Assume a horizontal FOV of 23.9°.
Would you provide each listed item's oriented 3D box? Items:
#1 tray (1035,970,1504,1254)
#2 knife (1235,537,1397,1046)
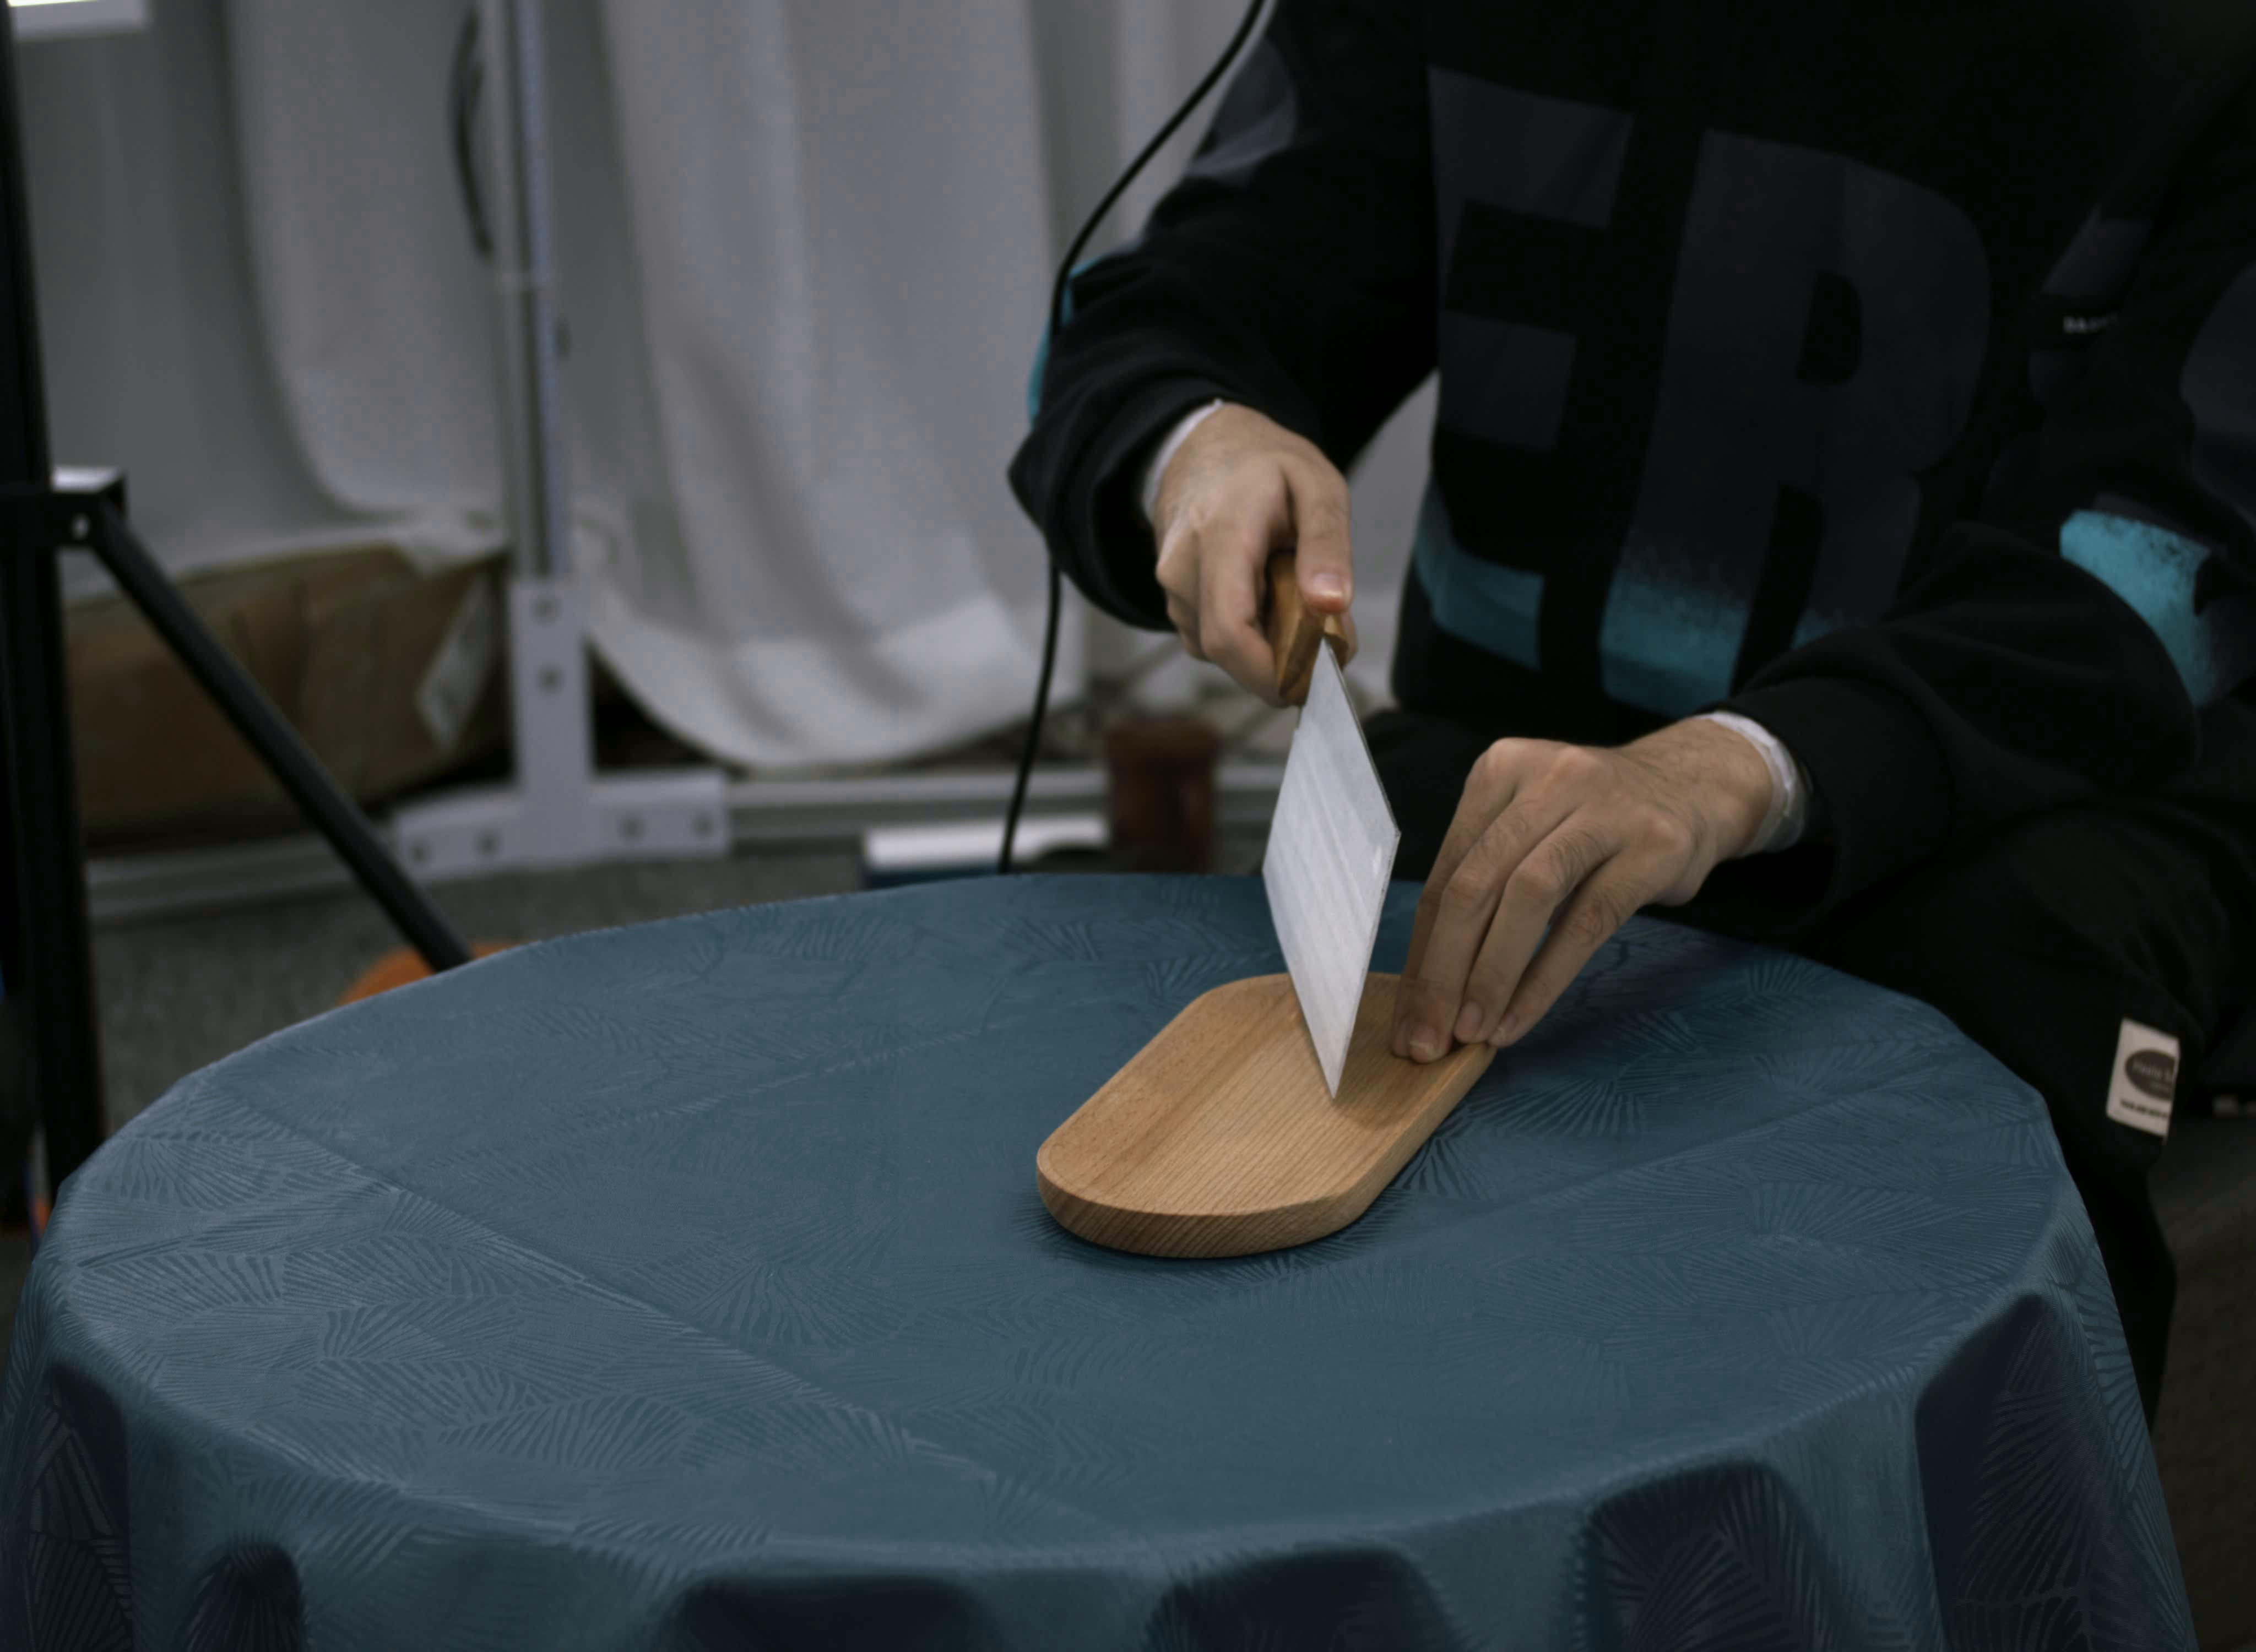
[{"bbox_3d":[0.046,0.084,1.603,0.103,0.020,0.228,5,16,20],"label":"tray"},{"bbox_3d":[0.058,-0.012,1.725,0.021,0.093,0.308,9,19,-9],"label":"knife"}]
